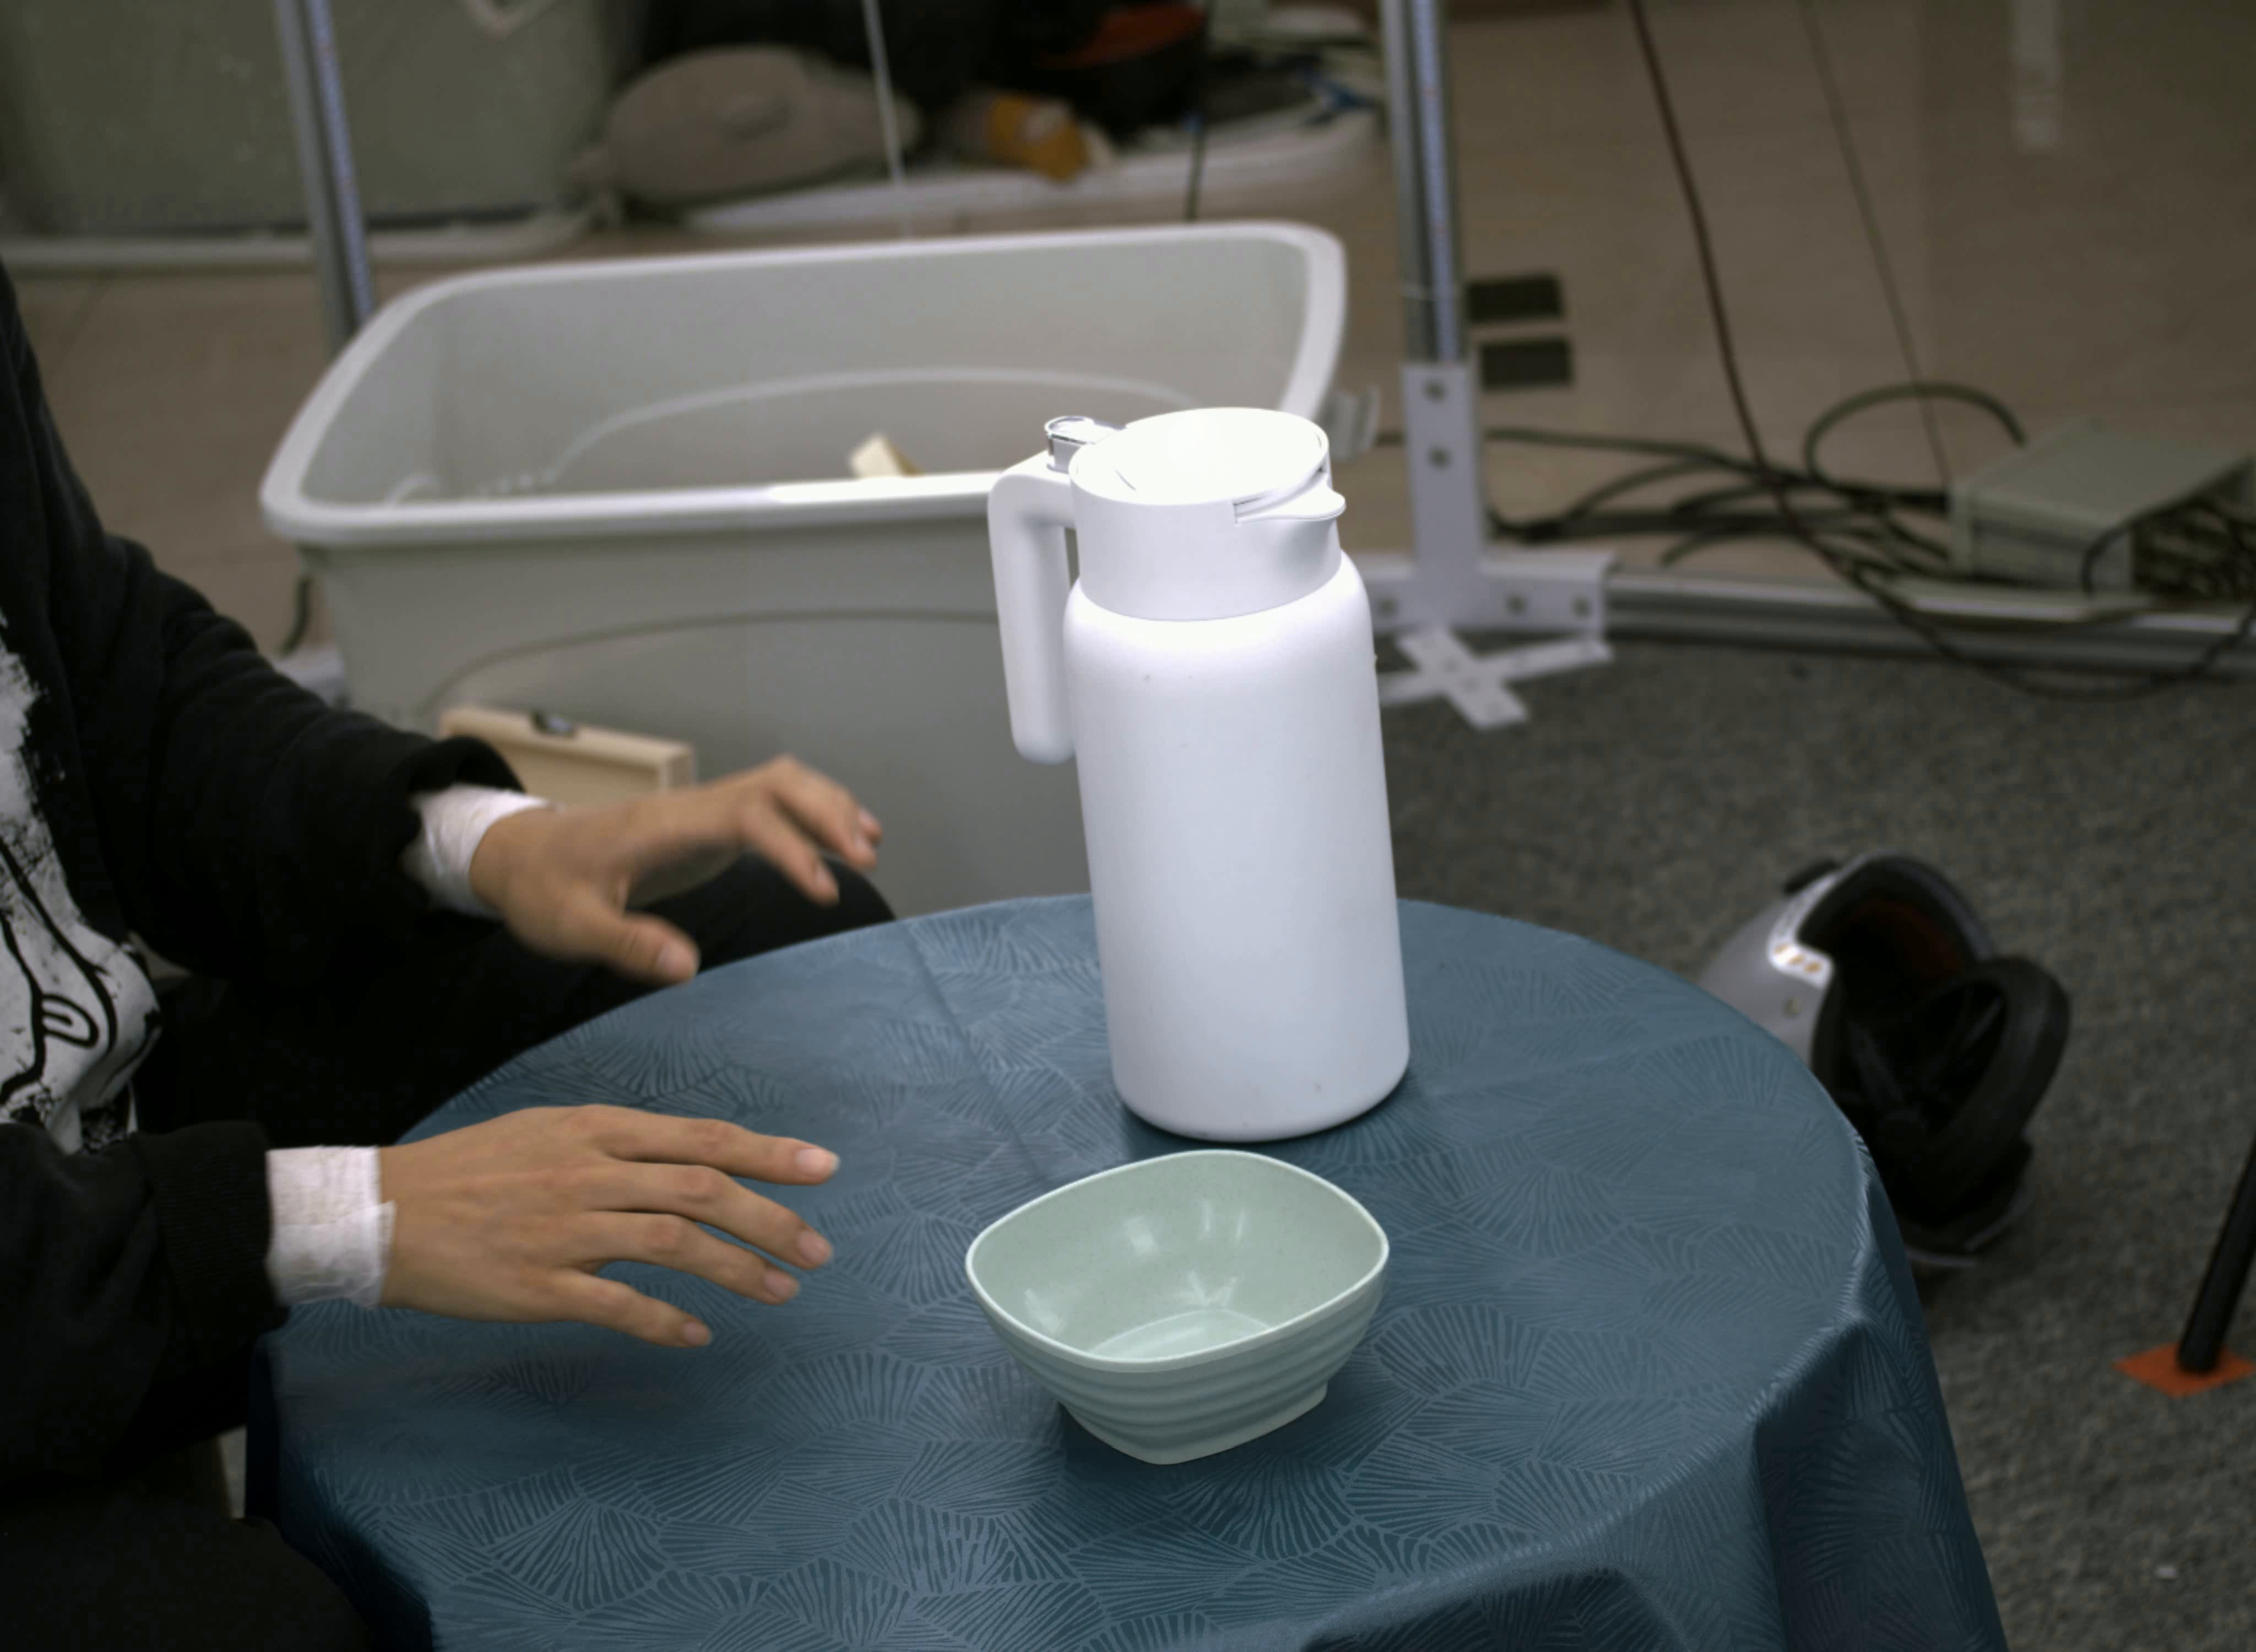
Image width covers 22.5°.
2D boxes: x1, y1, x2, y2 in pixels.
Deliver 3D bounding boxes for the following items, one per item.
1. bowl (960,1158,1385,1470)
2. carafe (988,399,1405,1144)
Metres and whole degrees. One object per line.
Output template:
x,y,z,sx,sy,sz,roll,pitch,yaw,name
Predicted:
0.018,0.177,2.000,0.151,0.059,0.149,-5,25,2,bowl
0.025,-0.023,2.170,0.171,0.273,0.122,16,36,38,carafe
